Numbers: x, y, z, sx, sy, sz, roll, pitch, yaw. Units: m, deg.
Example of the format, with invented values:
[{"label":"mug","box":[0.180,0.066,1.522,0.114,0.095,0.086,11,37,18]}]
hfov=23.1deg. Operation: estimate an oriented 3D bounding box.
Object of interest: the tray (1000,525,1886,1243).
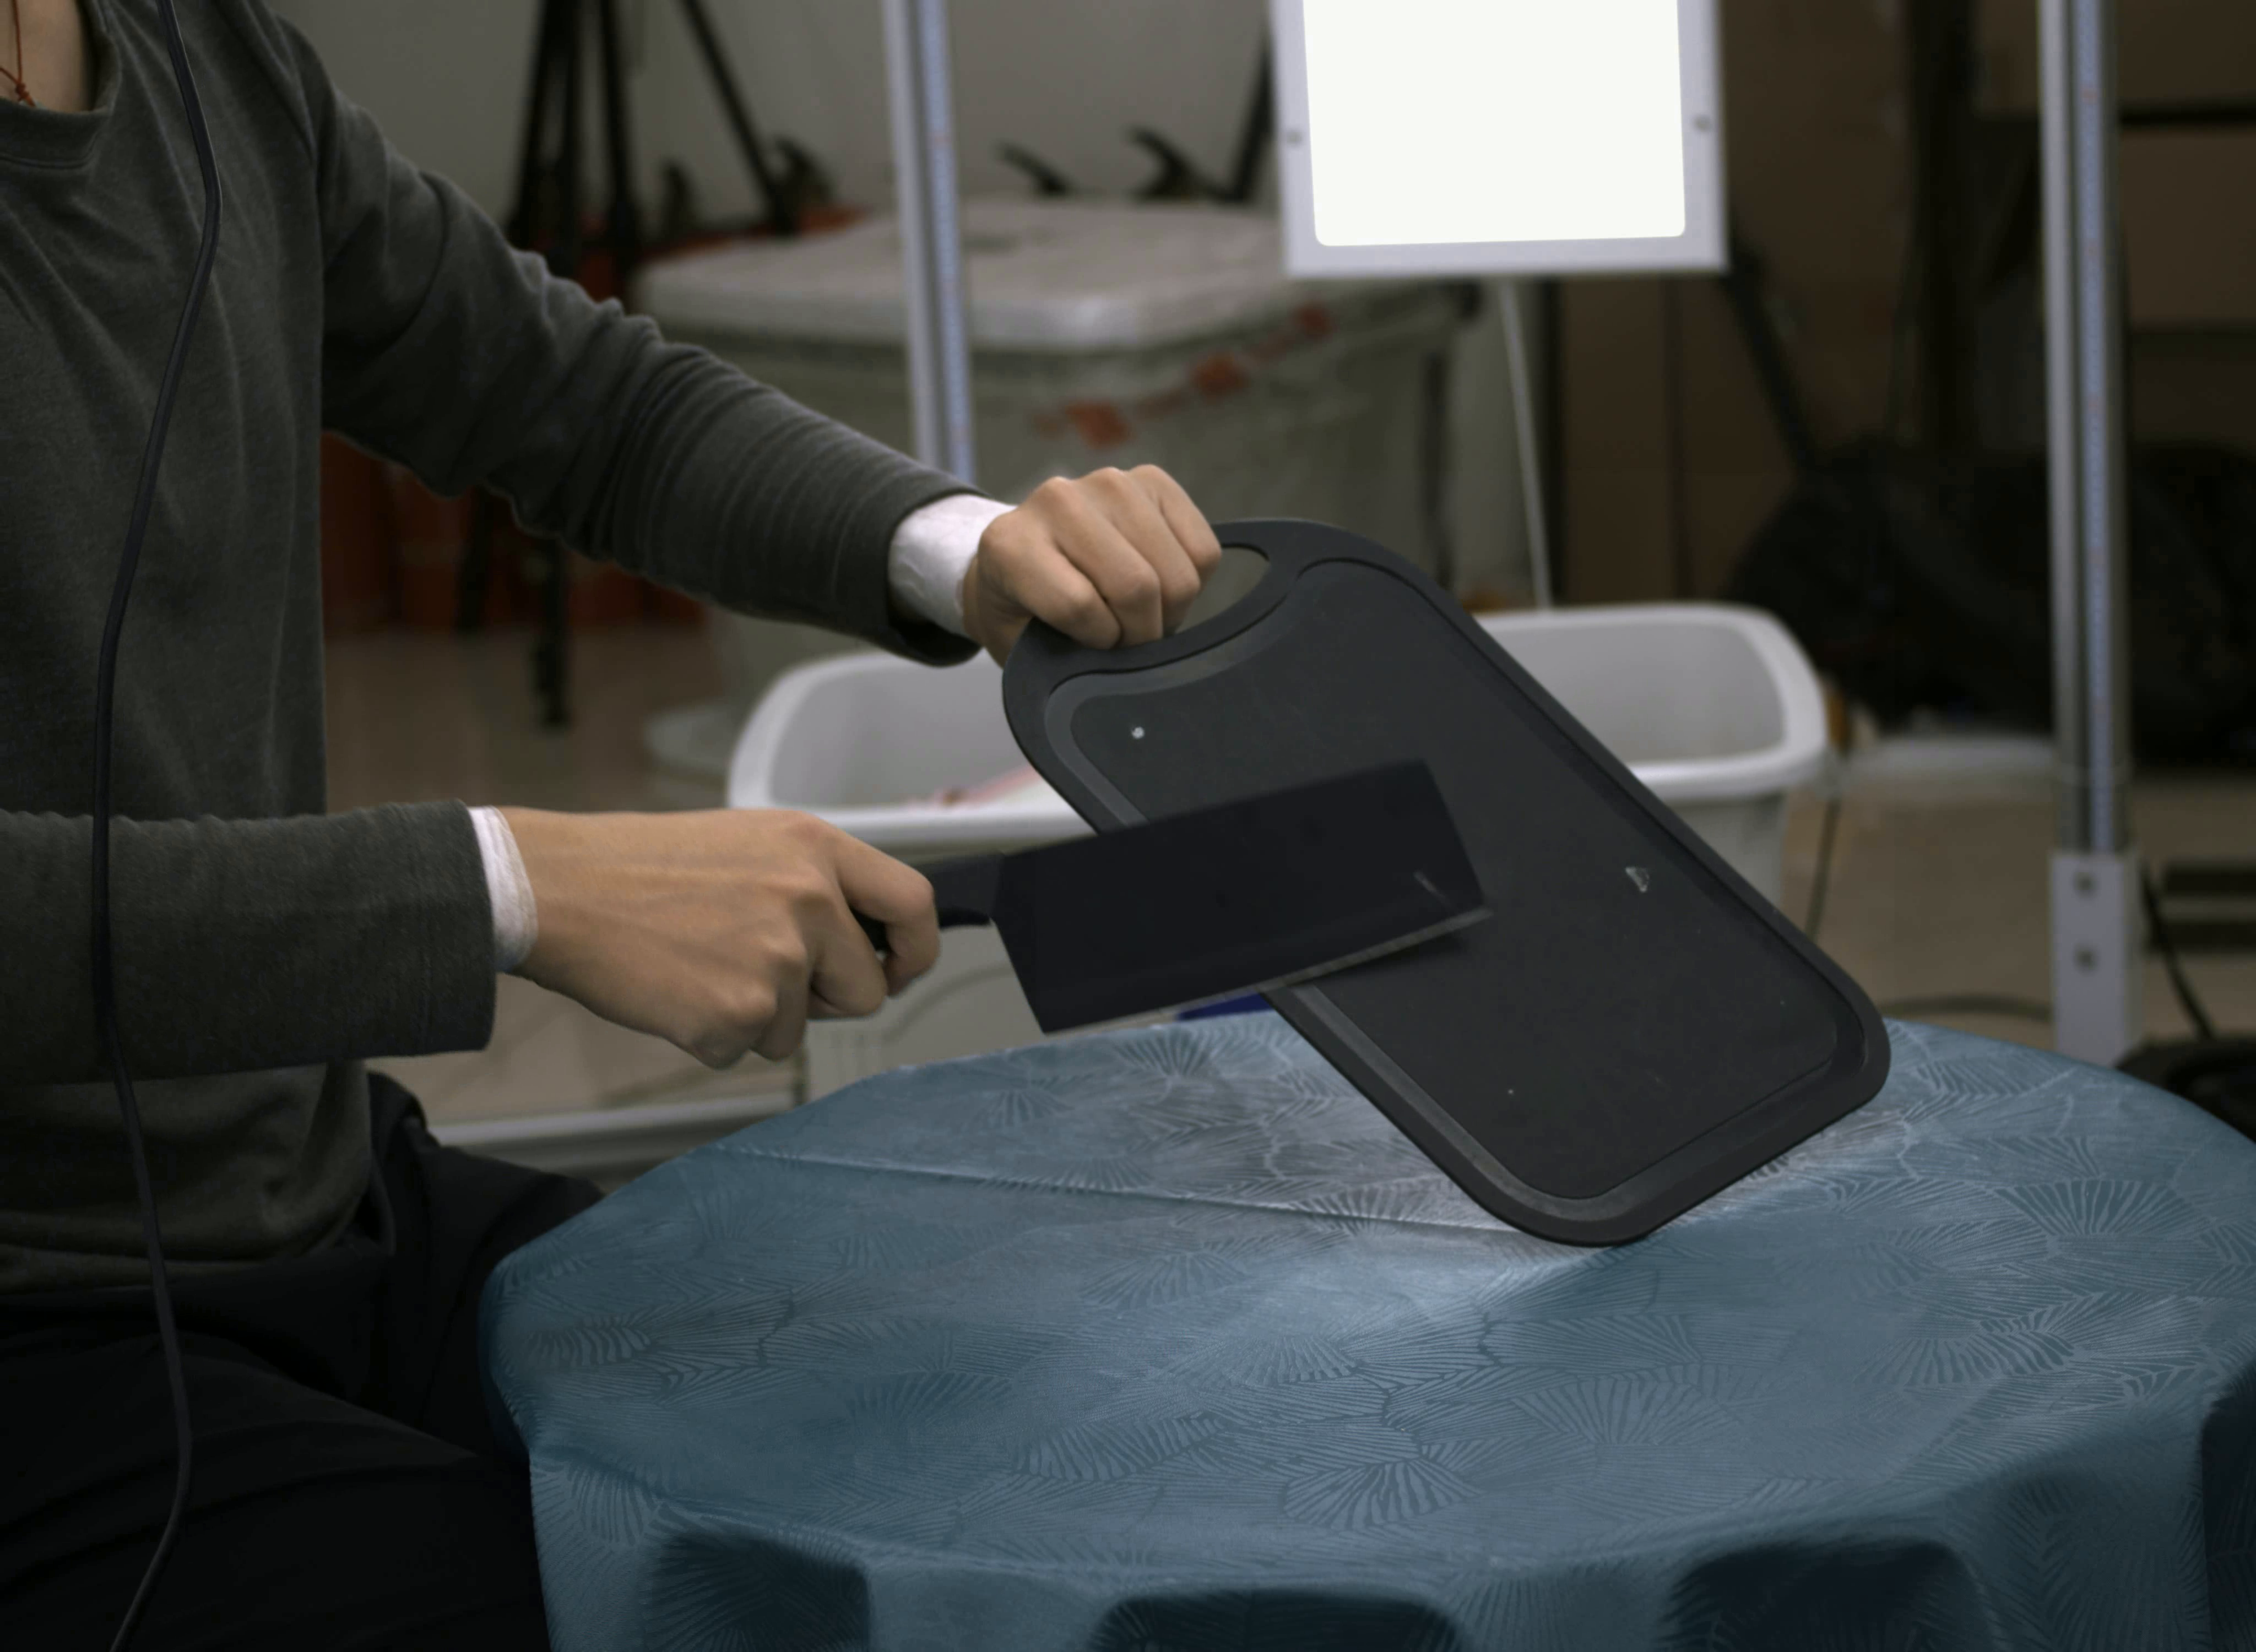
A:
[{"label":"tray","box":[0.104,0.008,1.905,0.206,0.010,0.328,-25,60,-39]}]

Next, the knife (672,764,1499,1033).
[{"label":"knife","box":[-0.012,0.033,1.823,0.296,0.081,0.021,-9,-24,-24]}]
